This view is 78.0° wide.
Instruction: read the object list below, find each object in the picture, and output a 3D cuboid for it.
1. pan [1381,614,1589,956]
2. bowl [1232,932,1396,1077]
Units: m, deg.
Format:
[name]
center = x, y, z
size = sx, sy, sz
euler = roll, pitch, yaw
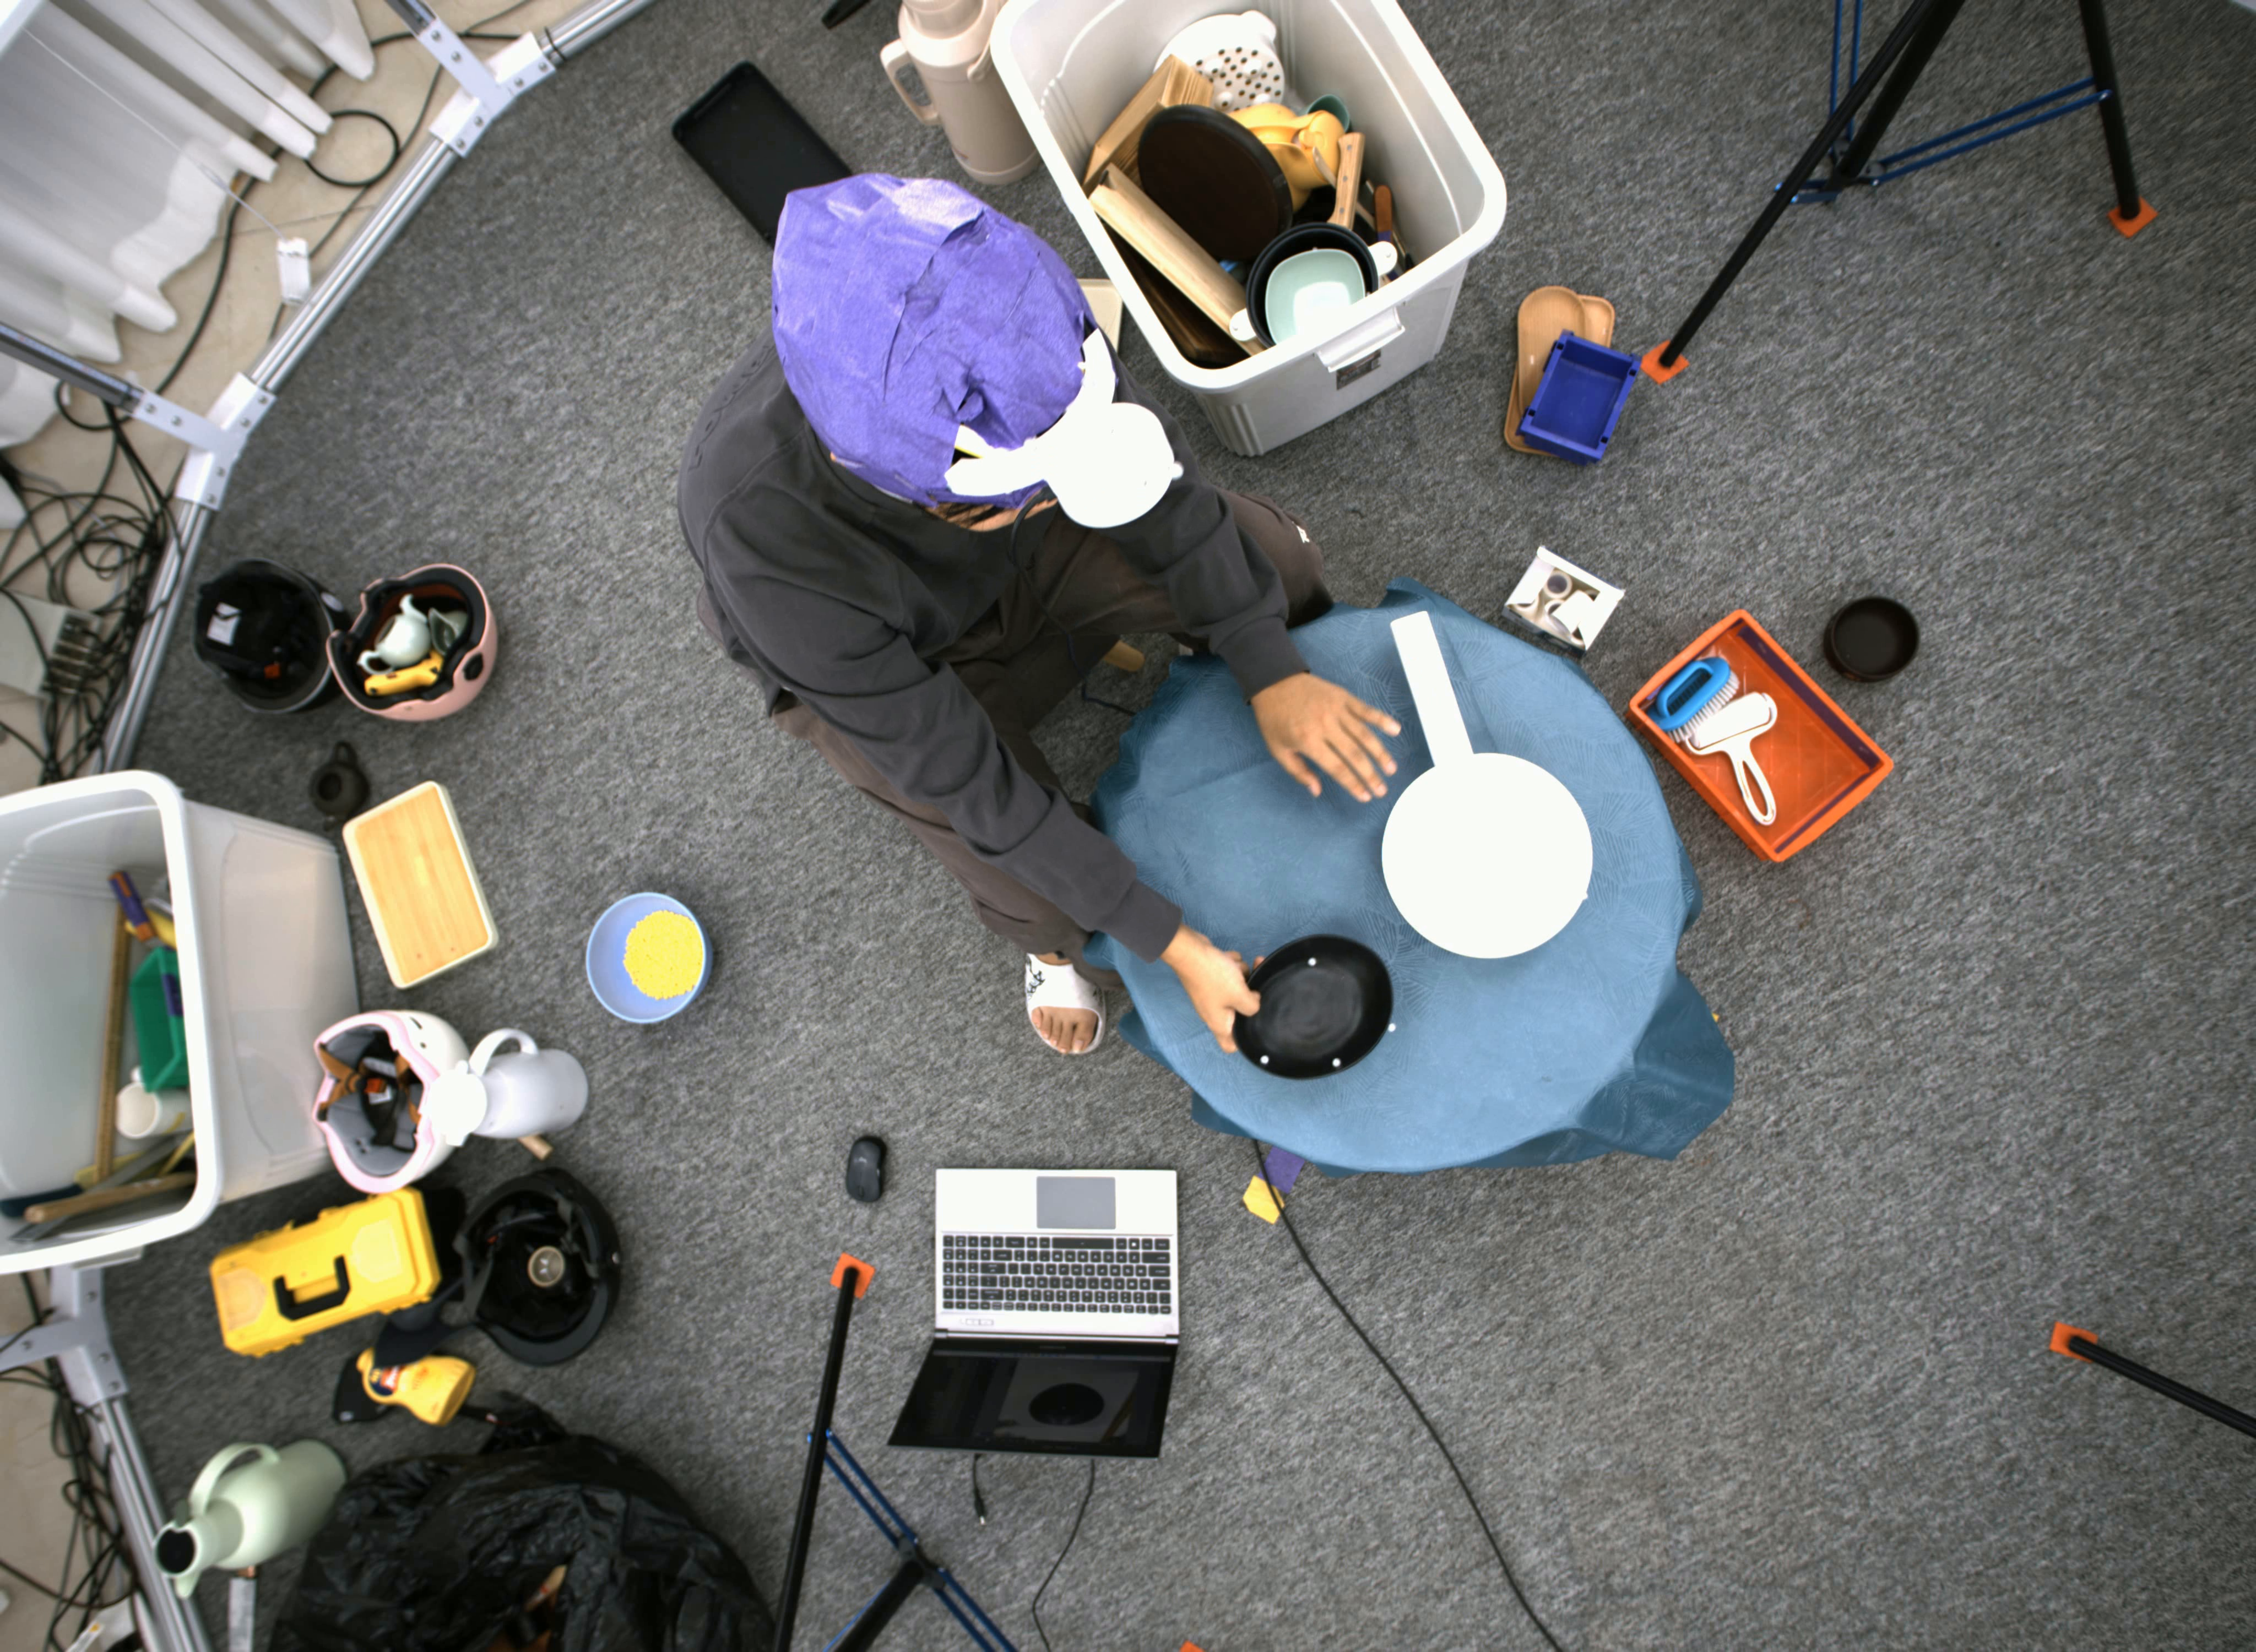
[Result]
[pan]
center = 0.341, -0.041, 1.412
size = 0.203, 0.102, 0.352
euler = -18, 81, 13
[bowl]
center = 0.189, 0.184, 1.408
size = 0.170, 0.067, 0.136
euler = -31, 79, 0
